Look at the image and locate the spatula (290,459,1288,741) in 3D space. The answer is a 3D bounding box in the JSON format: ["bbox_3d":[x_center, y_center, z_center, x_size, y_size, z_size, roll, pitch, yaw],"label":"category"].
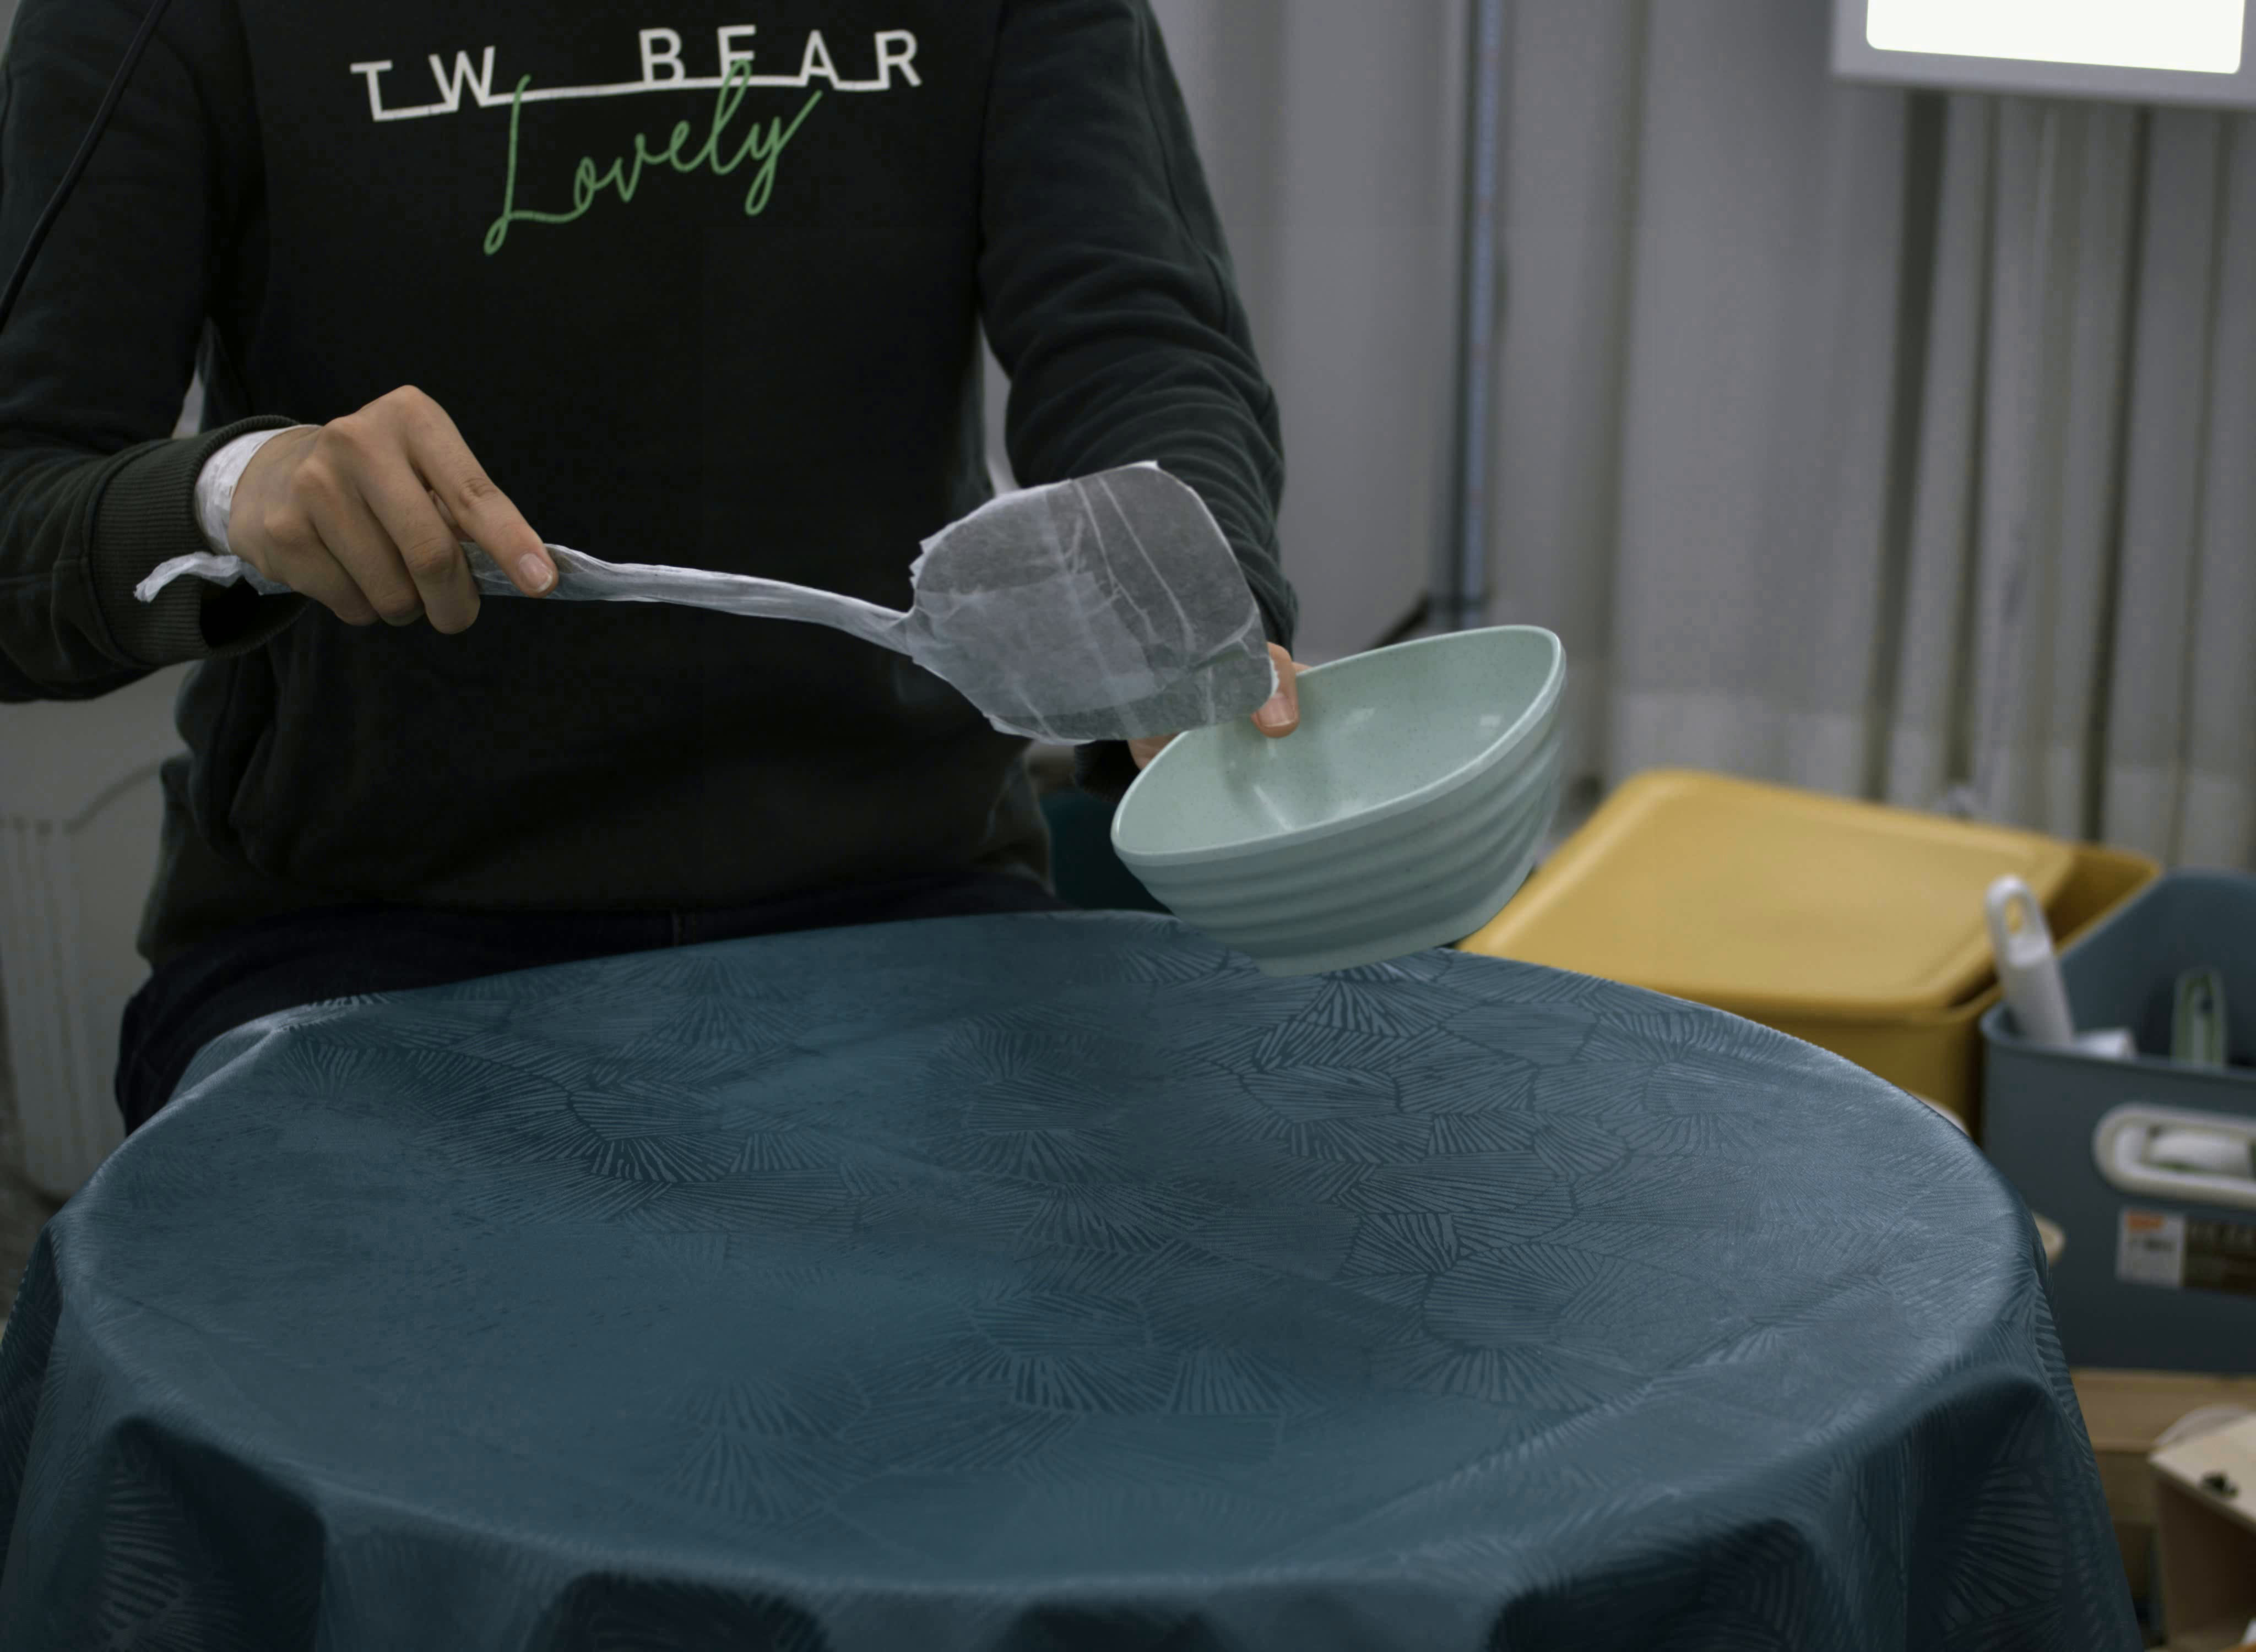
[{"bbox_3d":[-0.117,-0.071,1.592,0.360,0.100,0.044,6,49,35],"label":"spatula"}]

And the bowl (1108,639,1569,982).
[{"bbox_3d":[0.070,0.001,1.578,0.151,0.059,0.150,-16,21,7],"label":"bowl"}]
